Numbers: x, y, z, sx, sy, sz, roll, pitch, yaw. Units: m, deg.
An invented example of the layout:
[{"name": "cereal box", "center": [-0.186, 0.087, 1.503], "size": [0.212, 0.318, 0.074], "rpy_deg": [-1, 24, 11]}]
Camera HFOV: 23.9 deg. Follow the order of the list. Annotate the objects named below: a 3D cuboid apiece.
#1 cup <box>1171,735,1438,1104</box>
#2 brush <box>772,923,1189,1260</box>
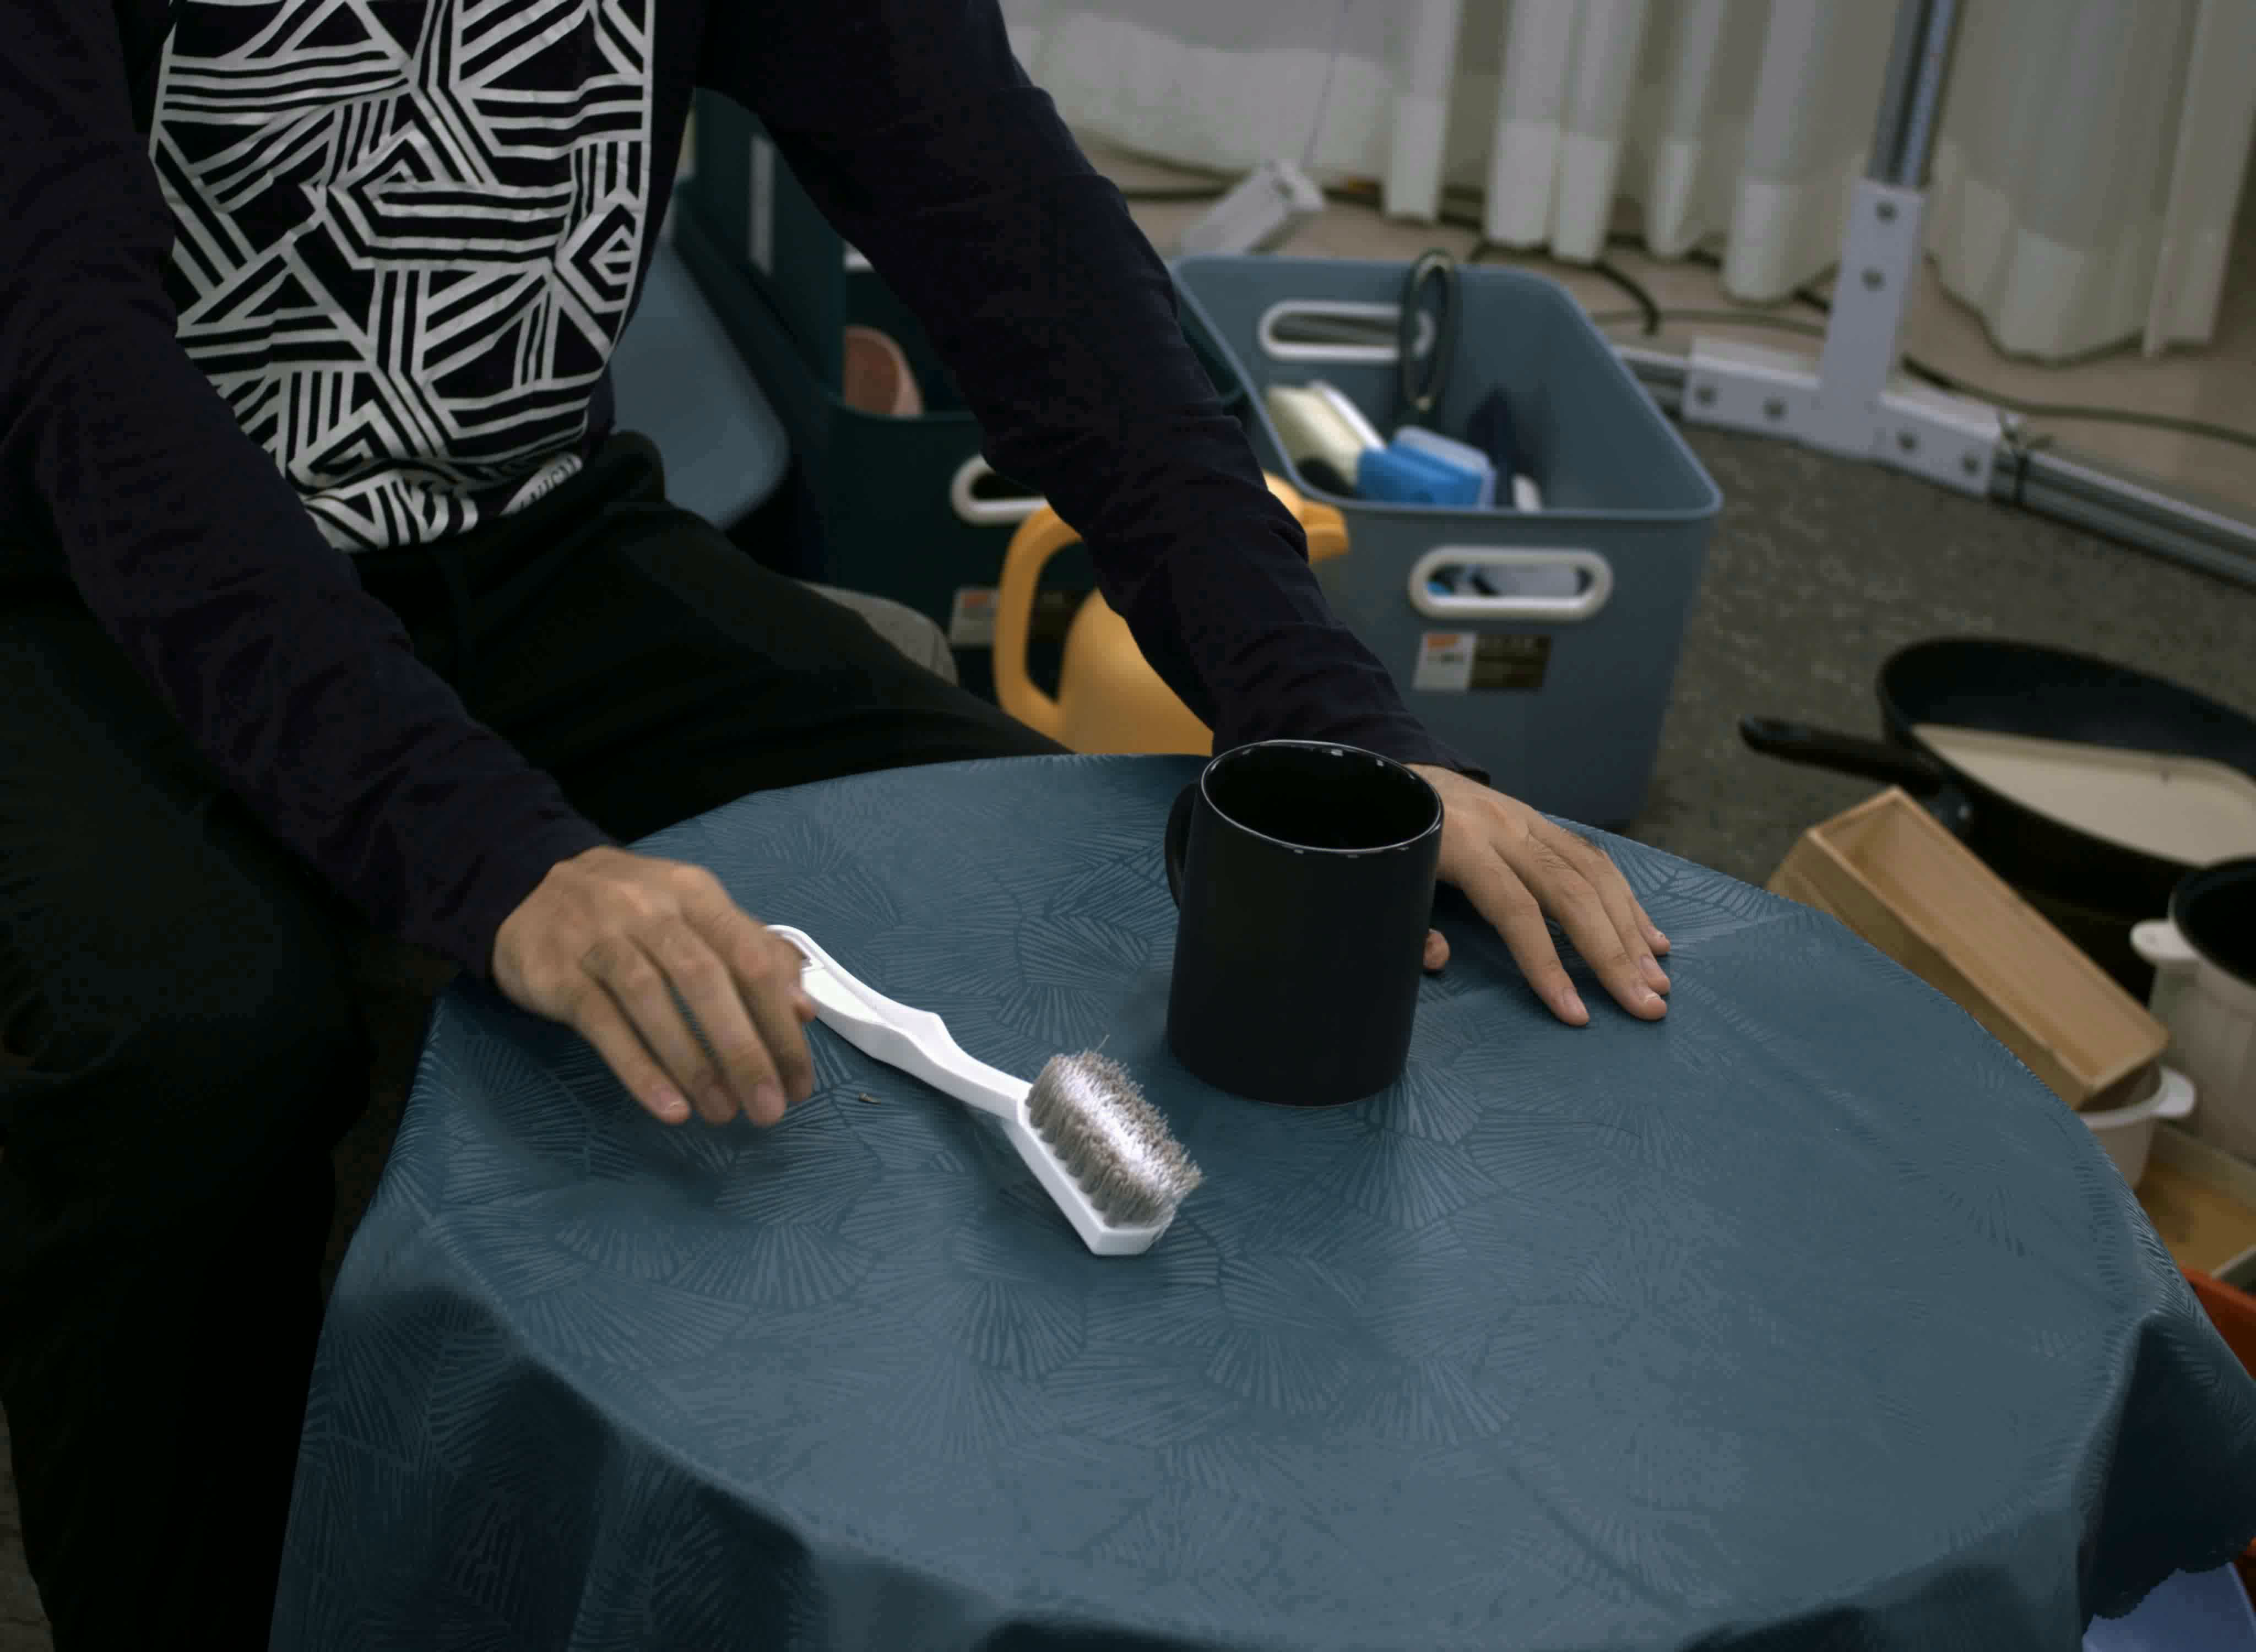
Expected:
[{"name": "cup", "center": [0.053, 0.026, 1.896], "size": [0.088, 0.105, 0.125], "rpy_deg": [-12, 30, -28]}, {"name": "brush", "center": [-0.056, 0.074, 1.839], "size": [0.034, 0.050, 0.246], "rpy_deg": [-15, 34, -29]}]
